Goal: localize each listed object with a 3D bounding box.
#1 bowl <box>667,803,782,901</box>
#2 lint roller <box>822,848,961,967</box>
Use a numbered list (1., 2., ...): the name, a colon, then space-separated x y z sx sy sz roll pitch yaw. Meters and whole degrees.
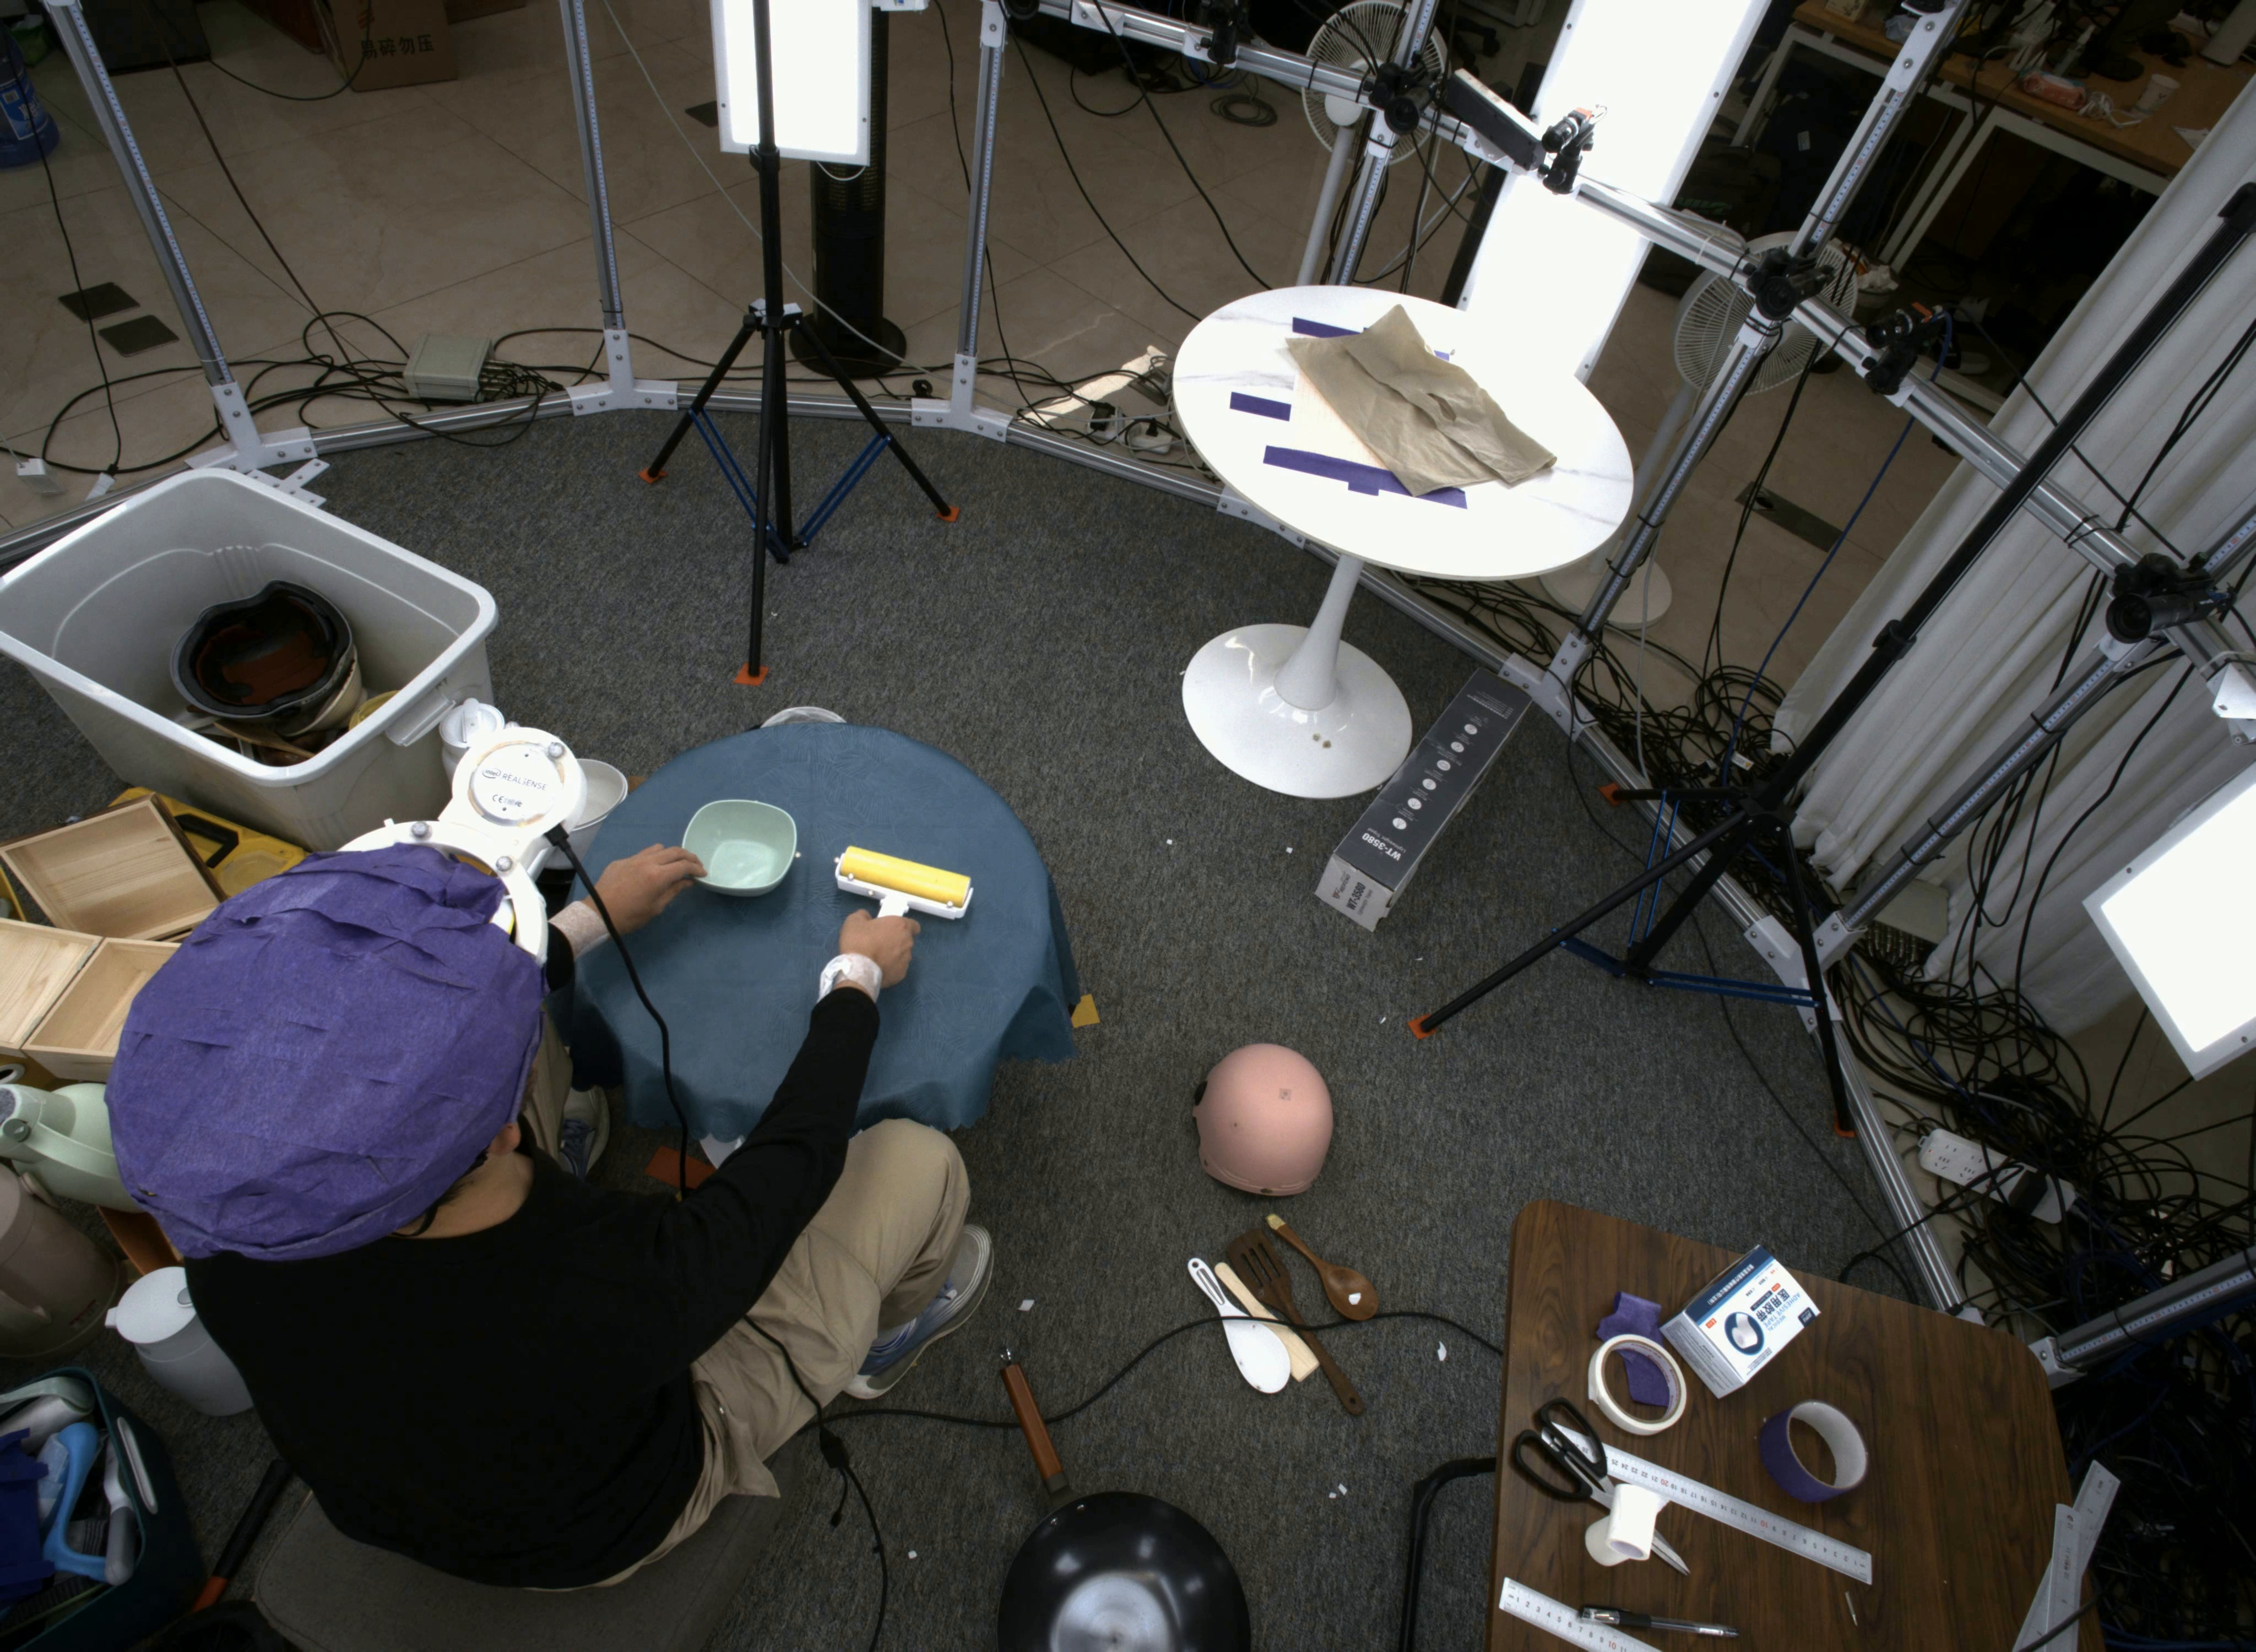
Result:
1. bowl: -0.507 0.041 1.629 0.151 0.060 0.148 9 50 -9
2. lint roller: -0.304 0.101 1.609 0.174 0.052 0.188 14 26 -6
